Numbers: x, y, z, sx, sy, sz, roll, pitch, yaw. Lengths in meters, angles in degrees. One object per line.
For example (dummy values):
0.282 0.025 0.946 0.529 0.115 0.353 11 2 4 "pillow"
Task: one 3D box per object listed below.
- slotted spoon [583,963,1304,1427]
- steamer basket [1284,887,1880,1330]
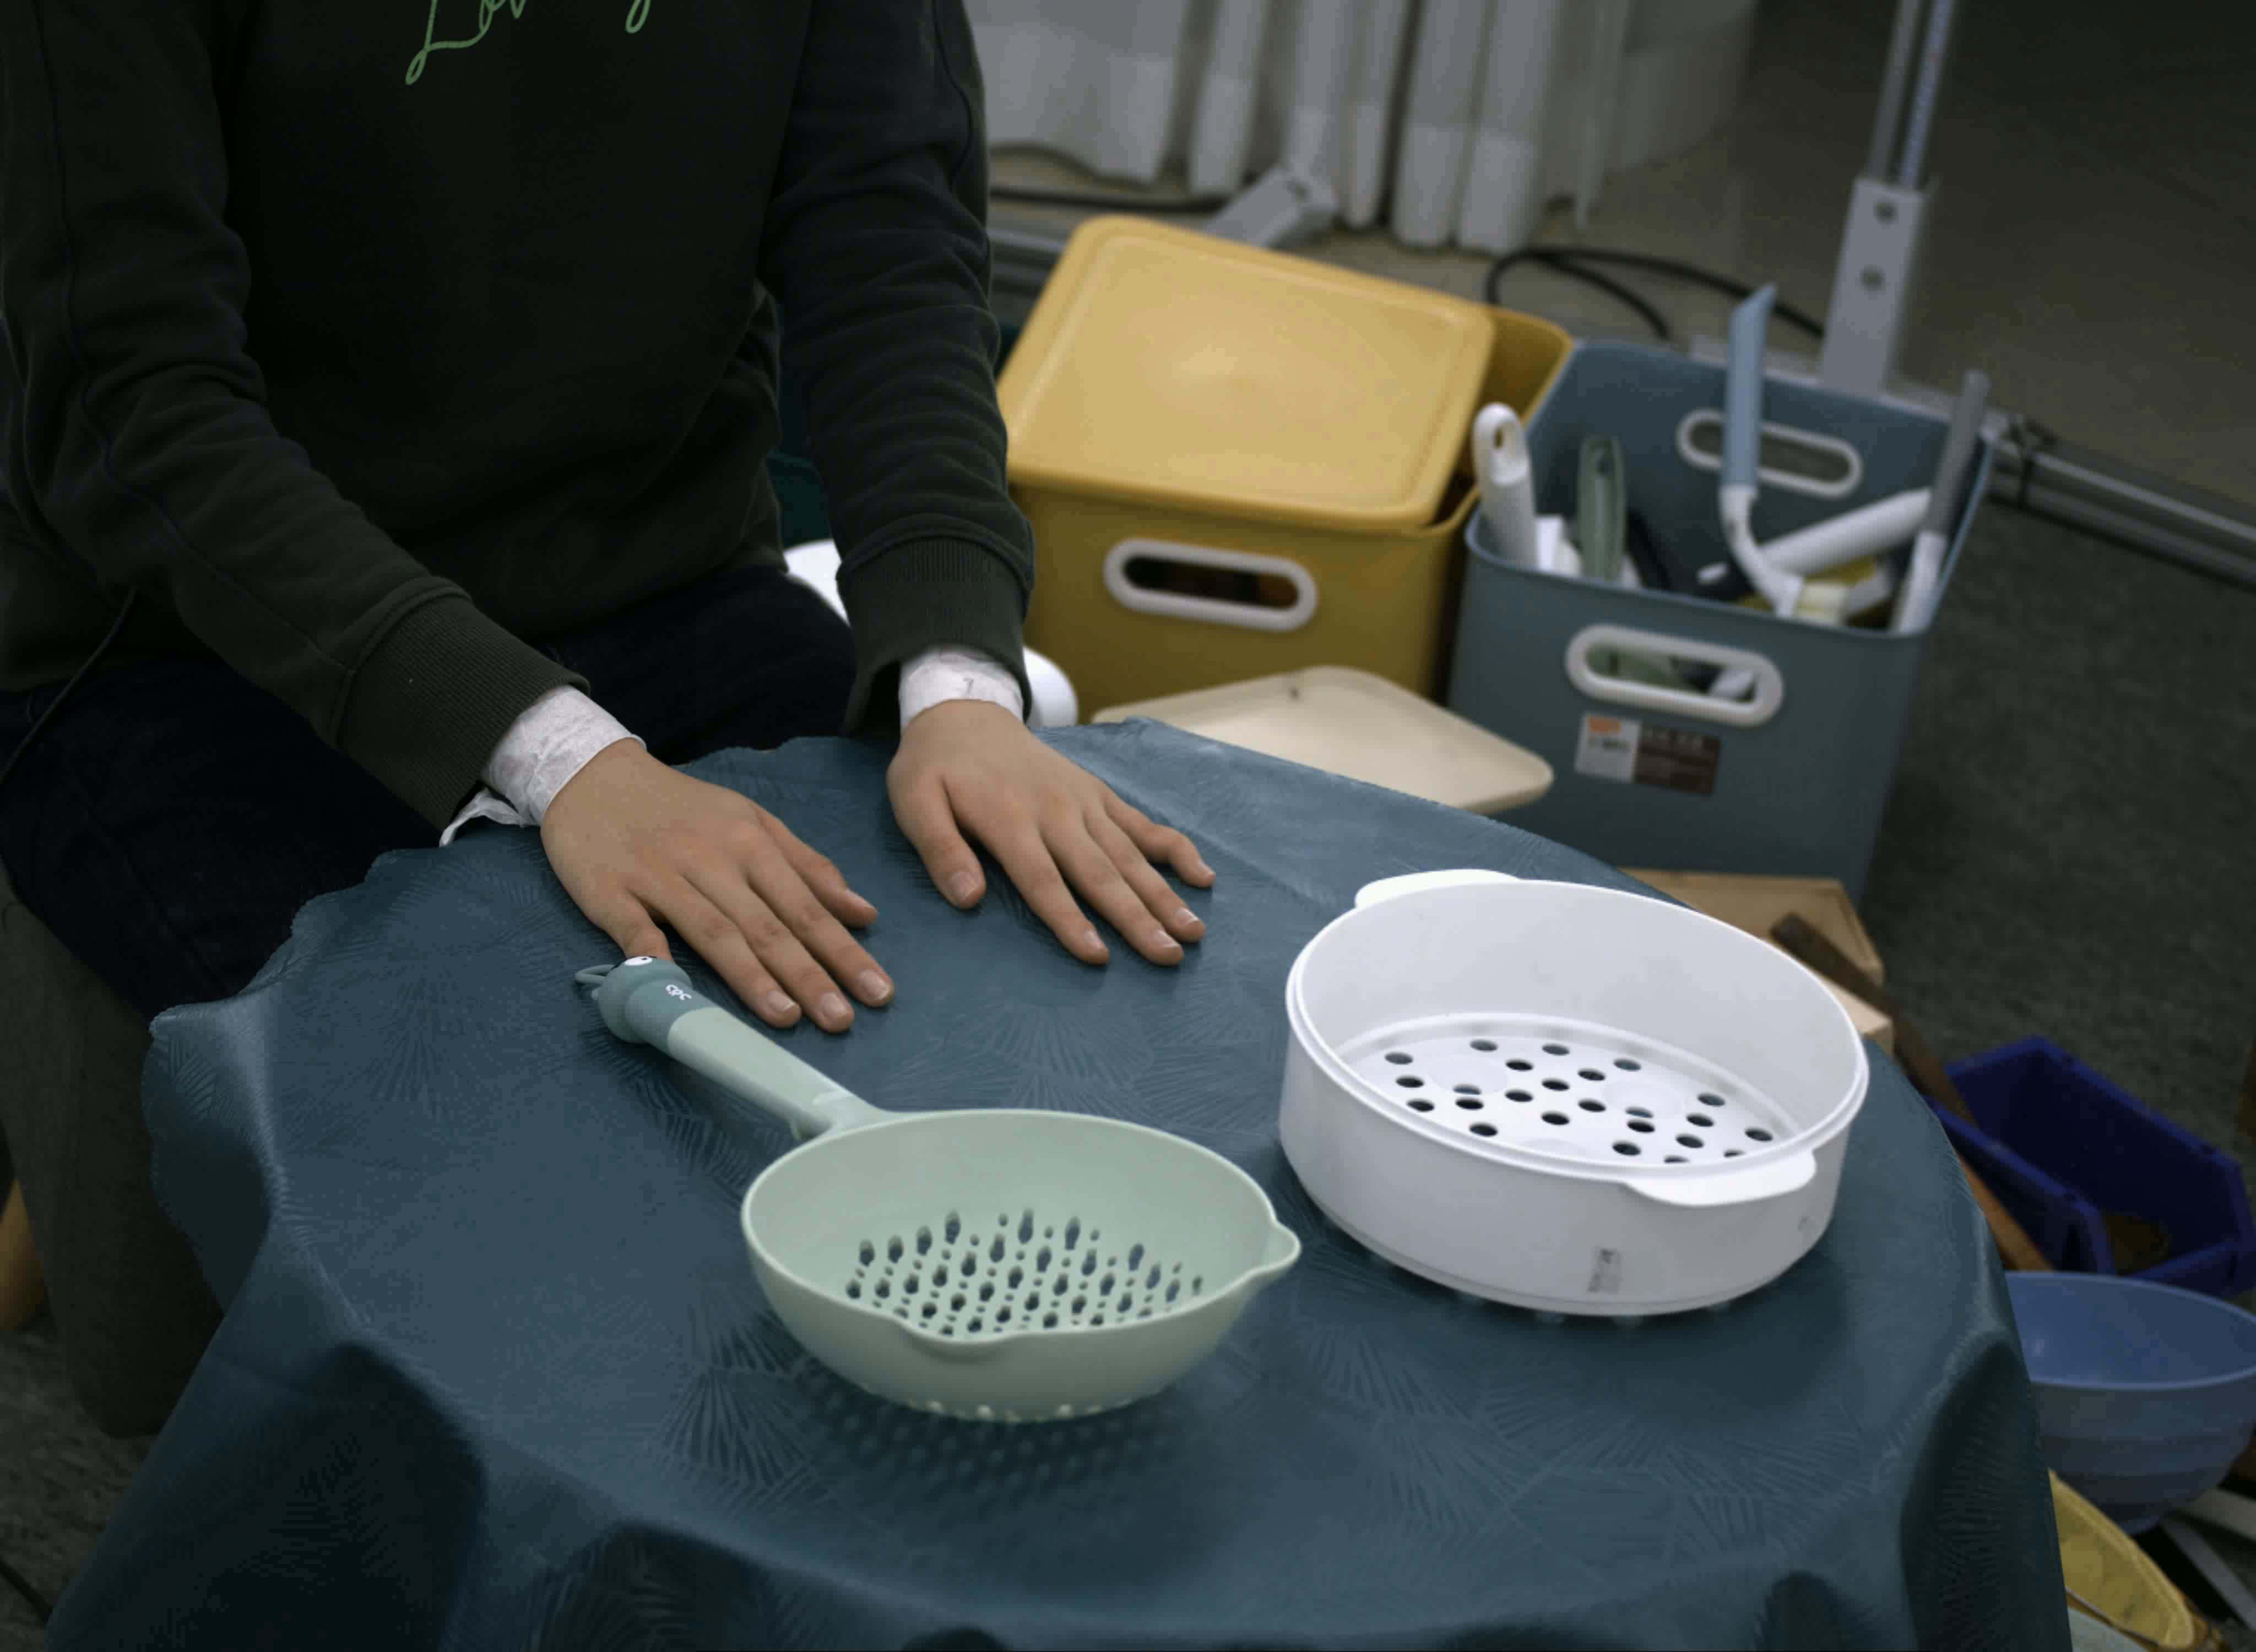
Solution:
-0.091 0.105 1.747 0.168 0.075 0.362 -10 31 -32 "slotted spoon"
0.152 0.098 1.816 0.200 0.069 0.232 -6 29 -26 "steamer basket"
